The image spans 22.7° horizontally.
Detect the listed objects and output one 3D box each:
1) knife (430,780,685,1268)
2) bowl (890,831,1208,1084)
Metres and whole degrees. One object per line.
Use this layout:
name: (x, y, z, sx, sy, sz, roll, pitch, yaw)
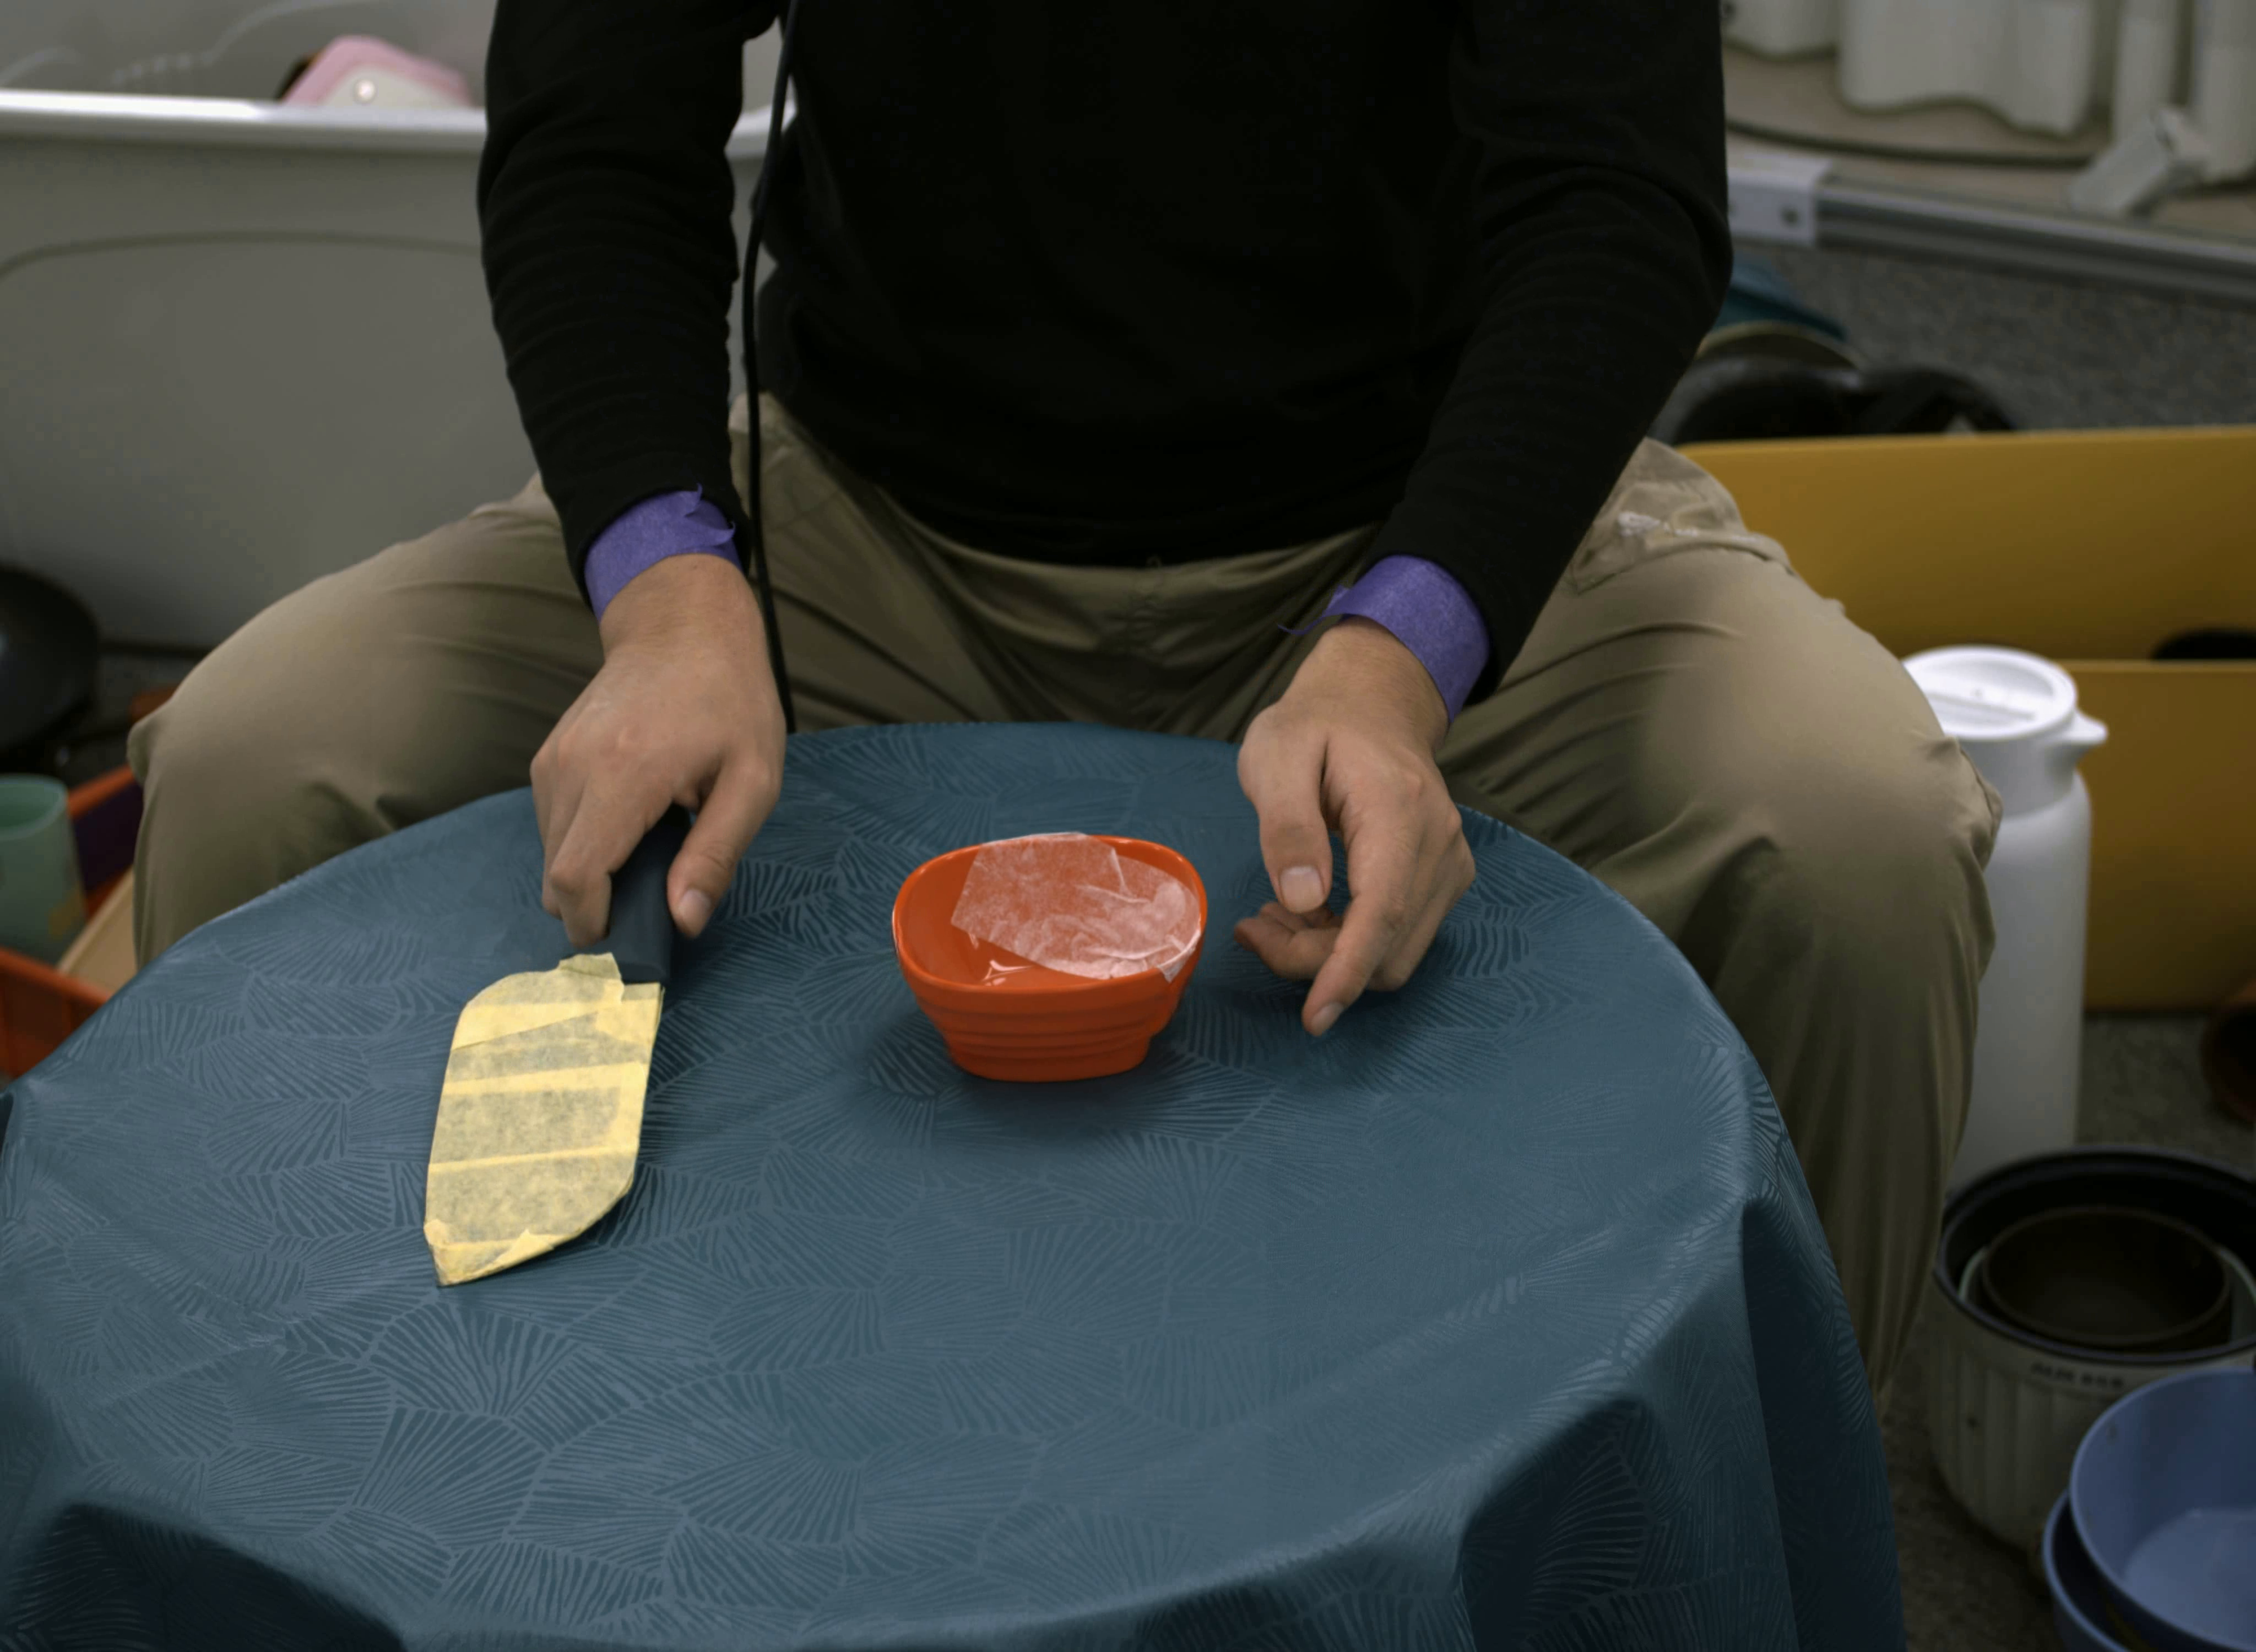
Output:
knife: (-0.195, 0.067, 1.948, 0.080, 0.027, 0.294, -3, 31, 7)
bowl: (-0.025, 0.050, 1.943, 0.118, 0.051, 0.121, -4, 28, 2)
